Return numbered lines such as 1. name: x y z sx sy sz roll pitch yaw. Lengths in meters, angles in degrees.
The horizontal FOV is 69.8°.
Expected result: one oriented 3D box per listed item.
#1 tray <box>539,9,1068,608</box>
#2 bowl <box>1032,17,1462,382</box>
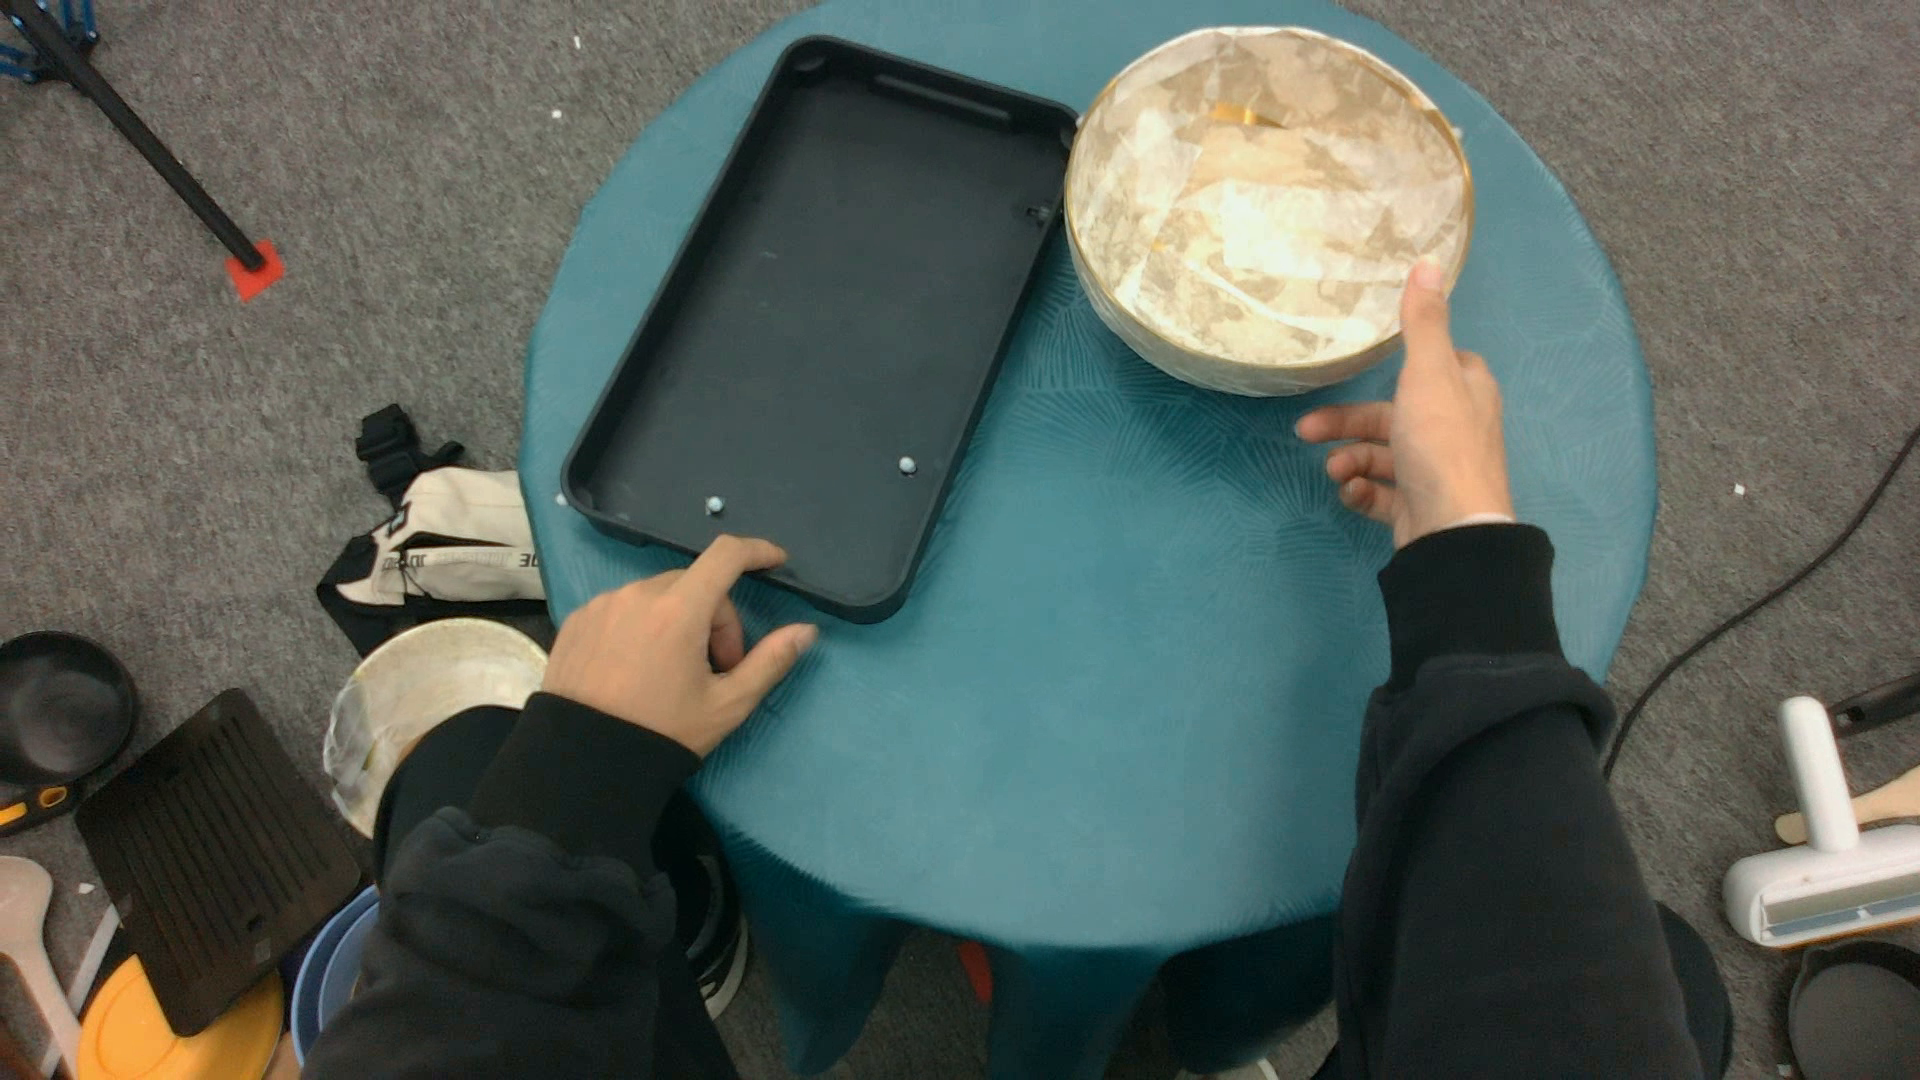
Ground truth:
1. tray: -0.072 -0.132 0.733 0.184 0.037 0.319 20 70 7
2. bowl: 0.140 -0.160 0.718 0.215 0.094 0.215 1 67 -1
